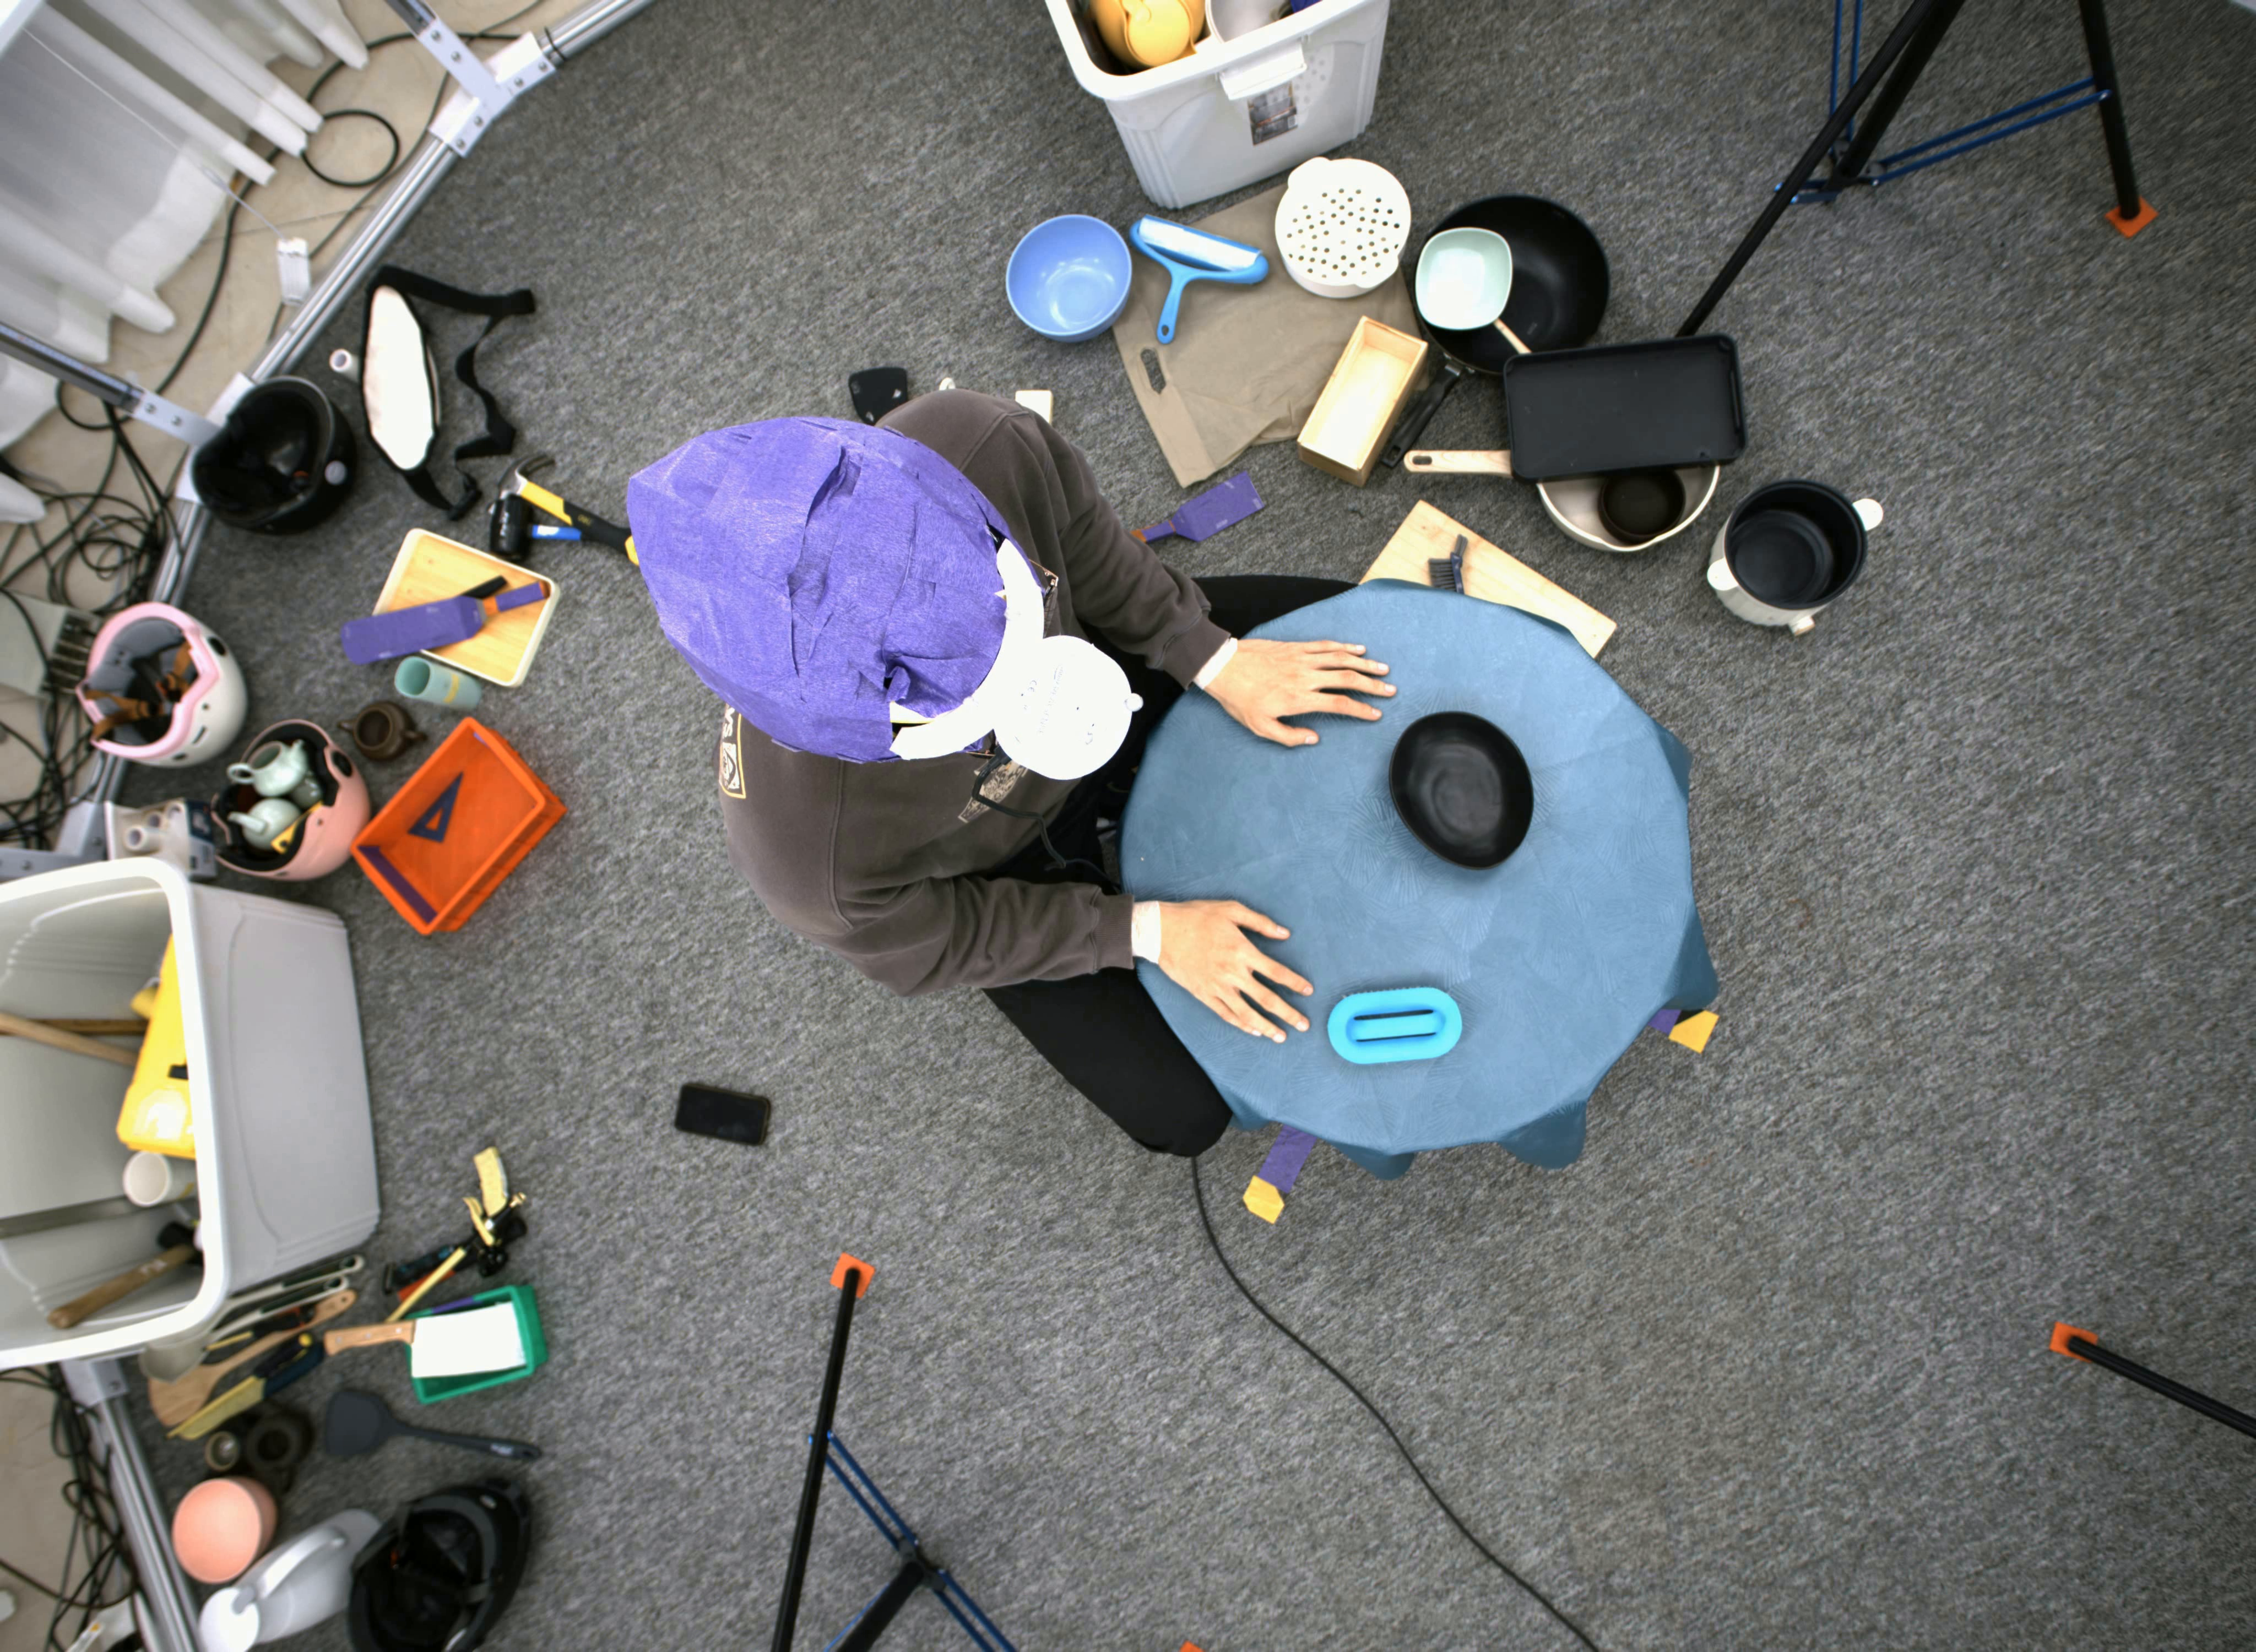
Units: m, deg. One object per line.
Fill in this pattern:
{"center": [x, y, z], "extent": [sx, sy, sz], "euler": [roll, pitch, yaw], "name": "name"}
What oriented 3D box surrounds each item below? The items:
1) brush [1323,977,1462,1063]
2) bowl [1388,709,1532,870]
{"center": [0.271, 0.200, 1.418], "extent": [0.142, 0.063, 0.084], "euler": [-4, 90, 11], "name": "brush"}
{"center": [0.342, -0.038, 1.418], "extent": [0.138, 0.066, 0.169], "euler": [-28, 84, 8], "name": "bowl"}
